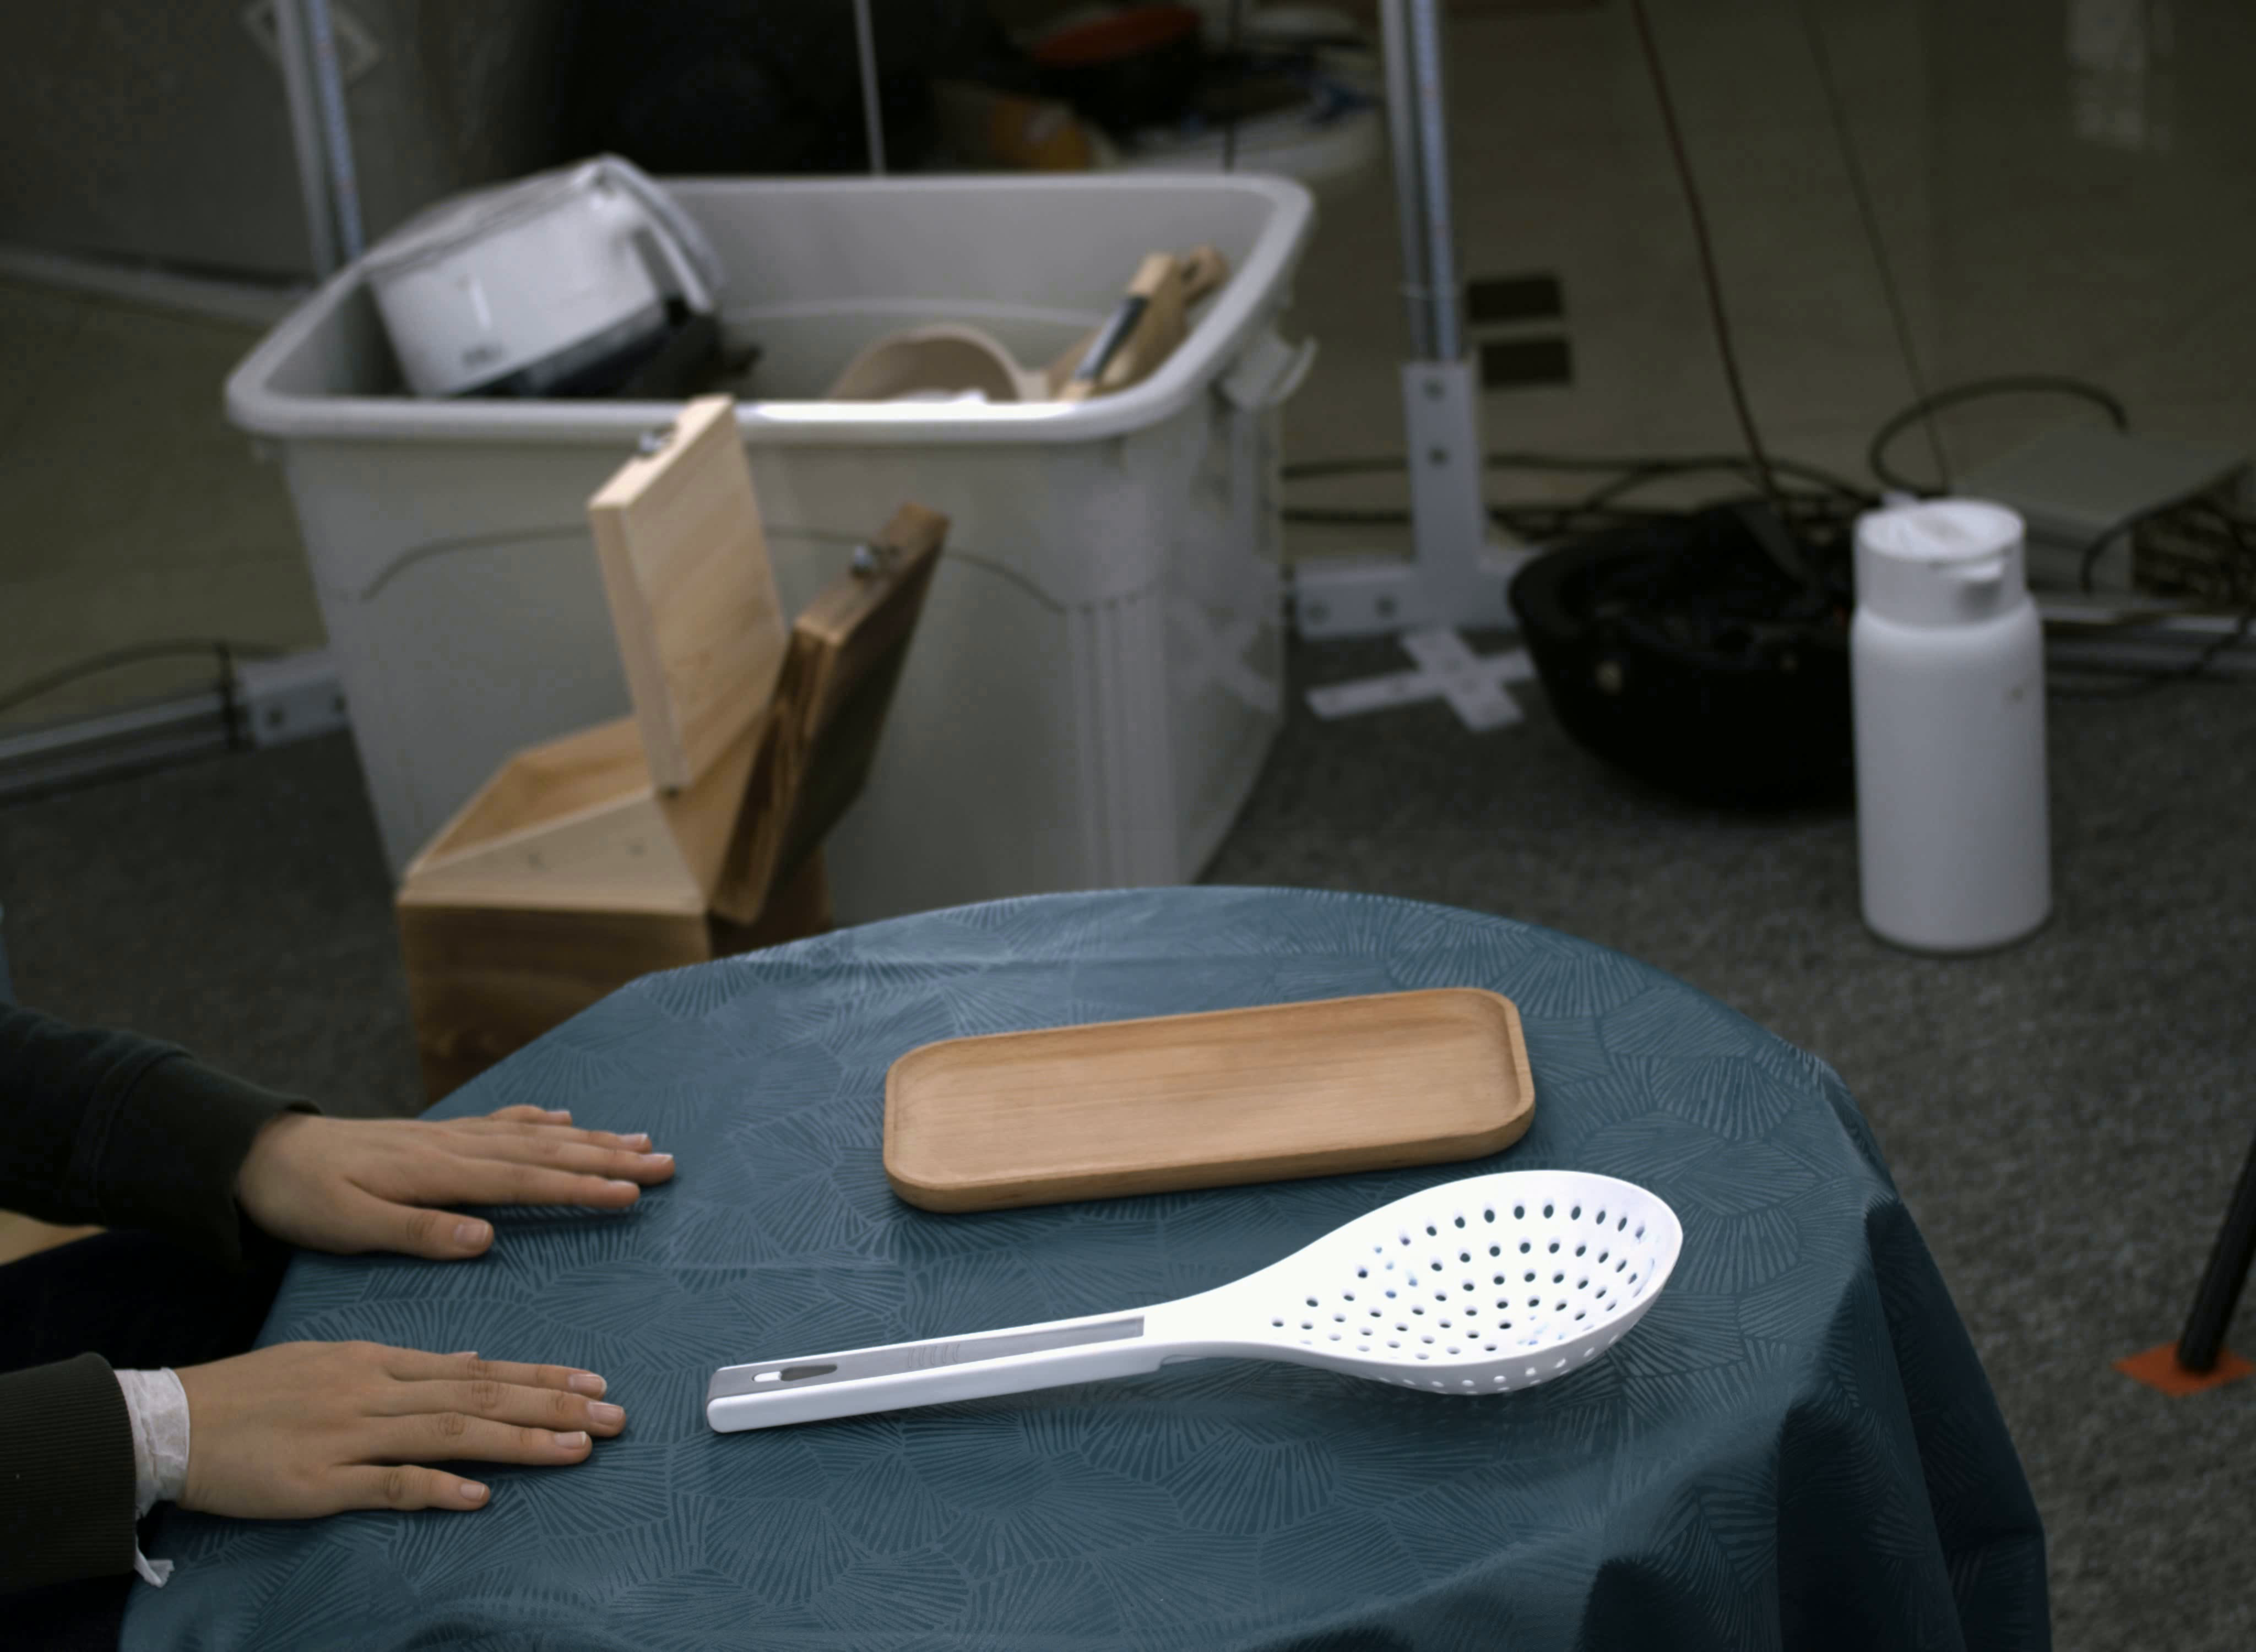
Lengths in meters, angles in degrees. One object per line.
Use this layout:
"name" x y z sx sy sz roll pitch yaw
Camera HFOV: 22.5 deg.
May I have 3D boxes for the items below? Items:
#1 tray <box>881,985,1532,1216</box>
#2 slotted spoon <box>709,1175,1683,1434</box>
"tray" 0.029 0.107 2.196 0.250 0.023 0.129 -7 23 2
"slotted spoon" 0.023 0.179 2.008 0.349 0.046 0.134 -5 23 5
